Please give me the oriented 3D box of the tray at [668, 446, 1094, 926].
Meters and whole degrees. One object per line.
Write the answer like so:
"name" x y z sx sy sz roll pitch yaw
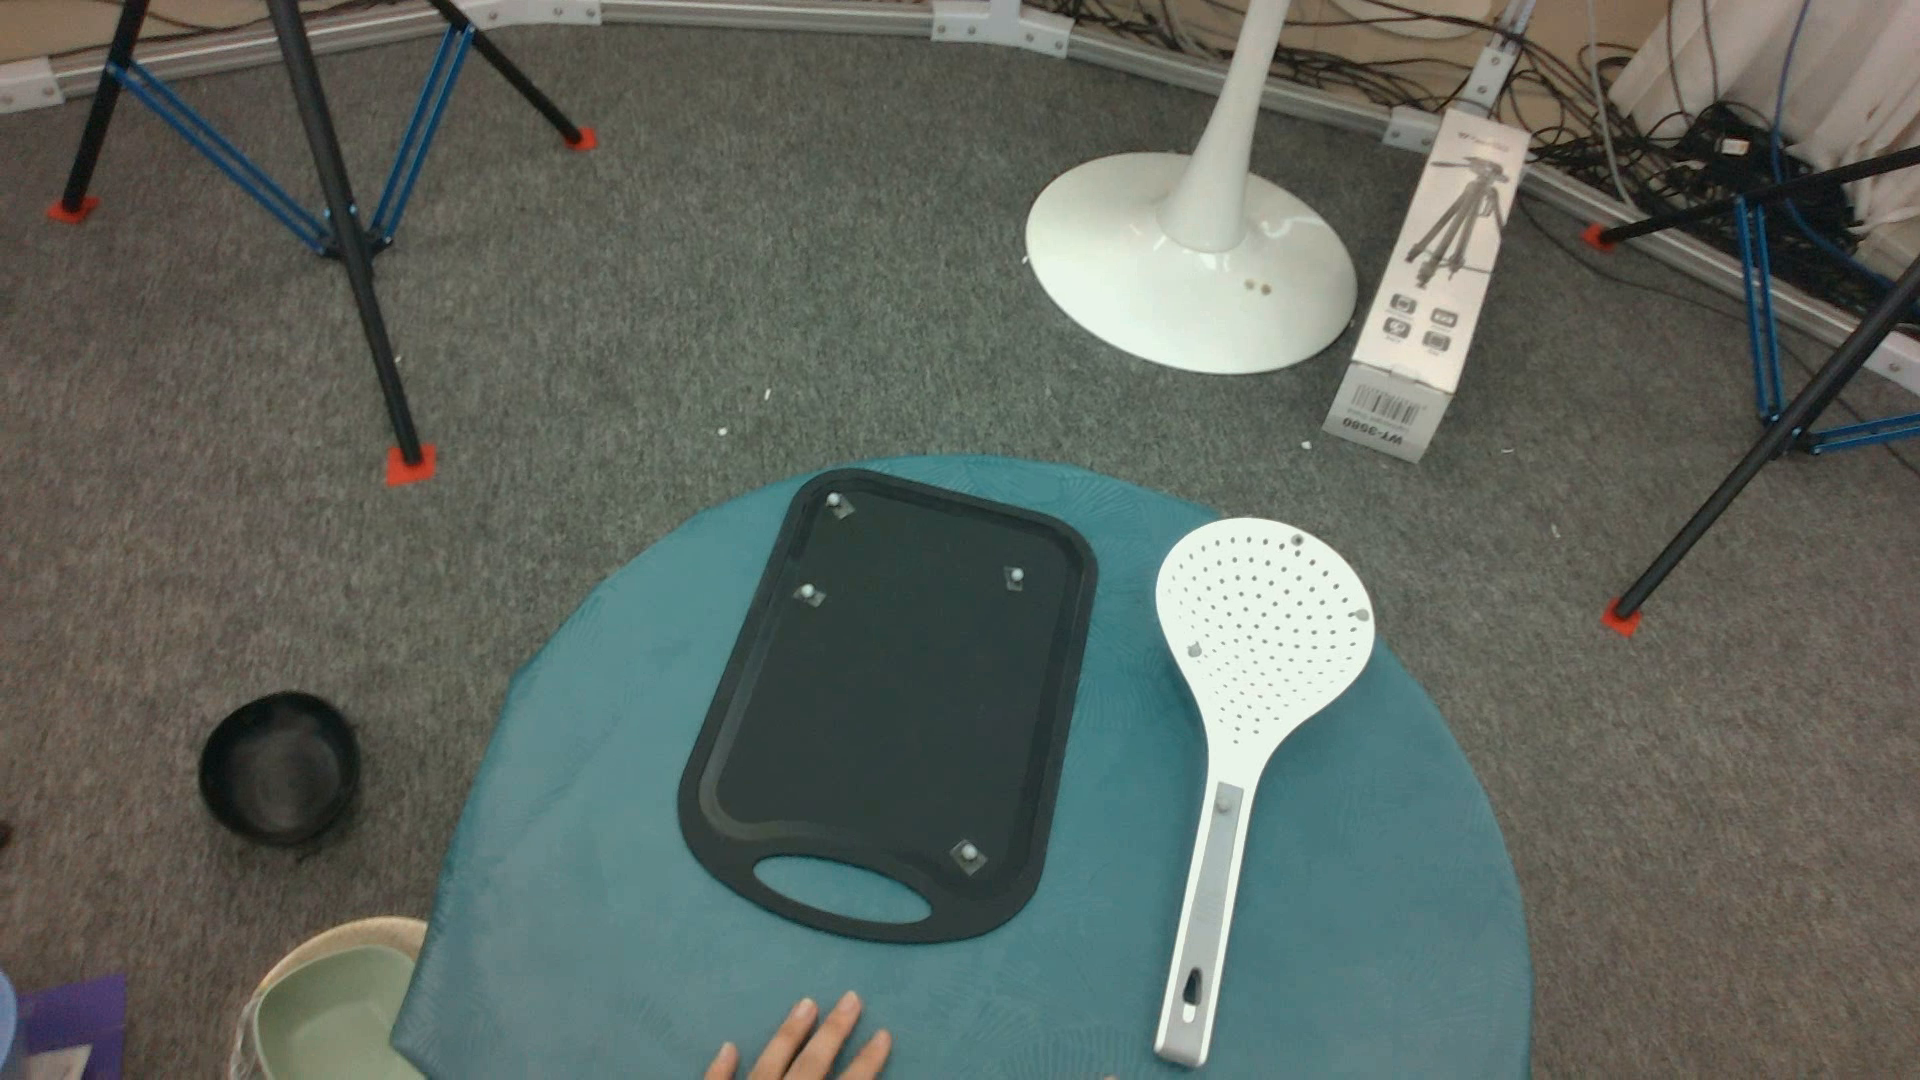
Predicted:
"tray" -0.039 0.075 0.831 0.211 0.010 0.327 15 52 2

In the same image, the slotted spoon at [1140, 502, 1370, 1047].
"slotted spoon" 0.157 0.121 0.805 0.136 0.045 0.351 17 52 6
